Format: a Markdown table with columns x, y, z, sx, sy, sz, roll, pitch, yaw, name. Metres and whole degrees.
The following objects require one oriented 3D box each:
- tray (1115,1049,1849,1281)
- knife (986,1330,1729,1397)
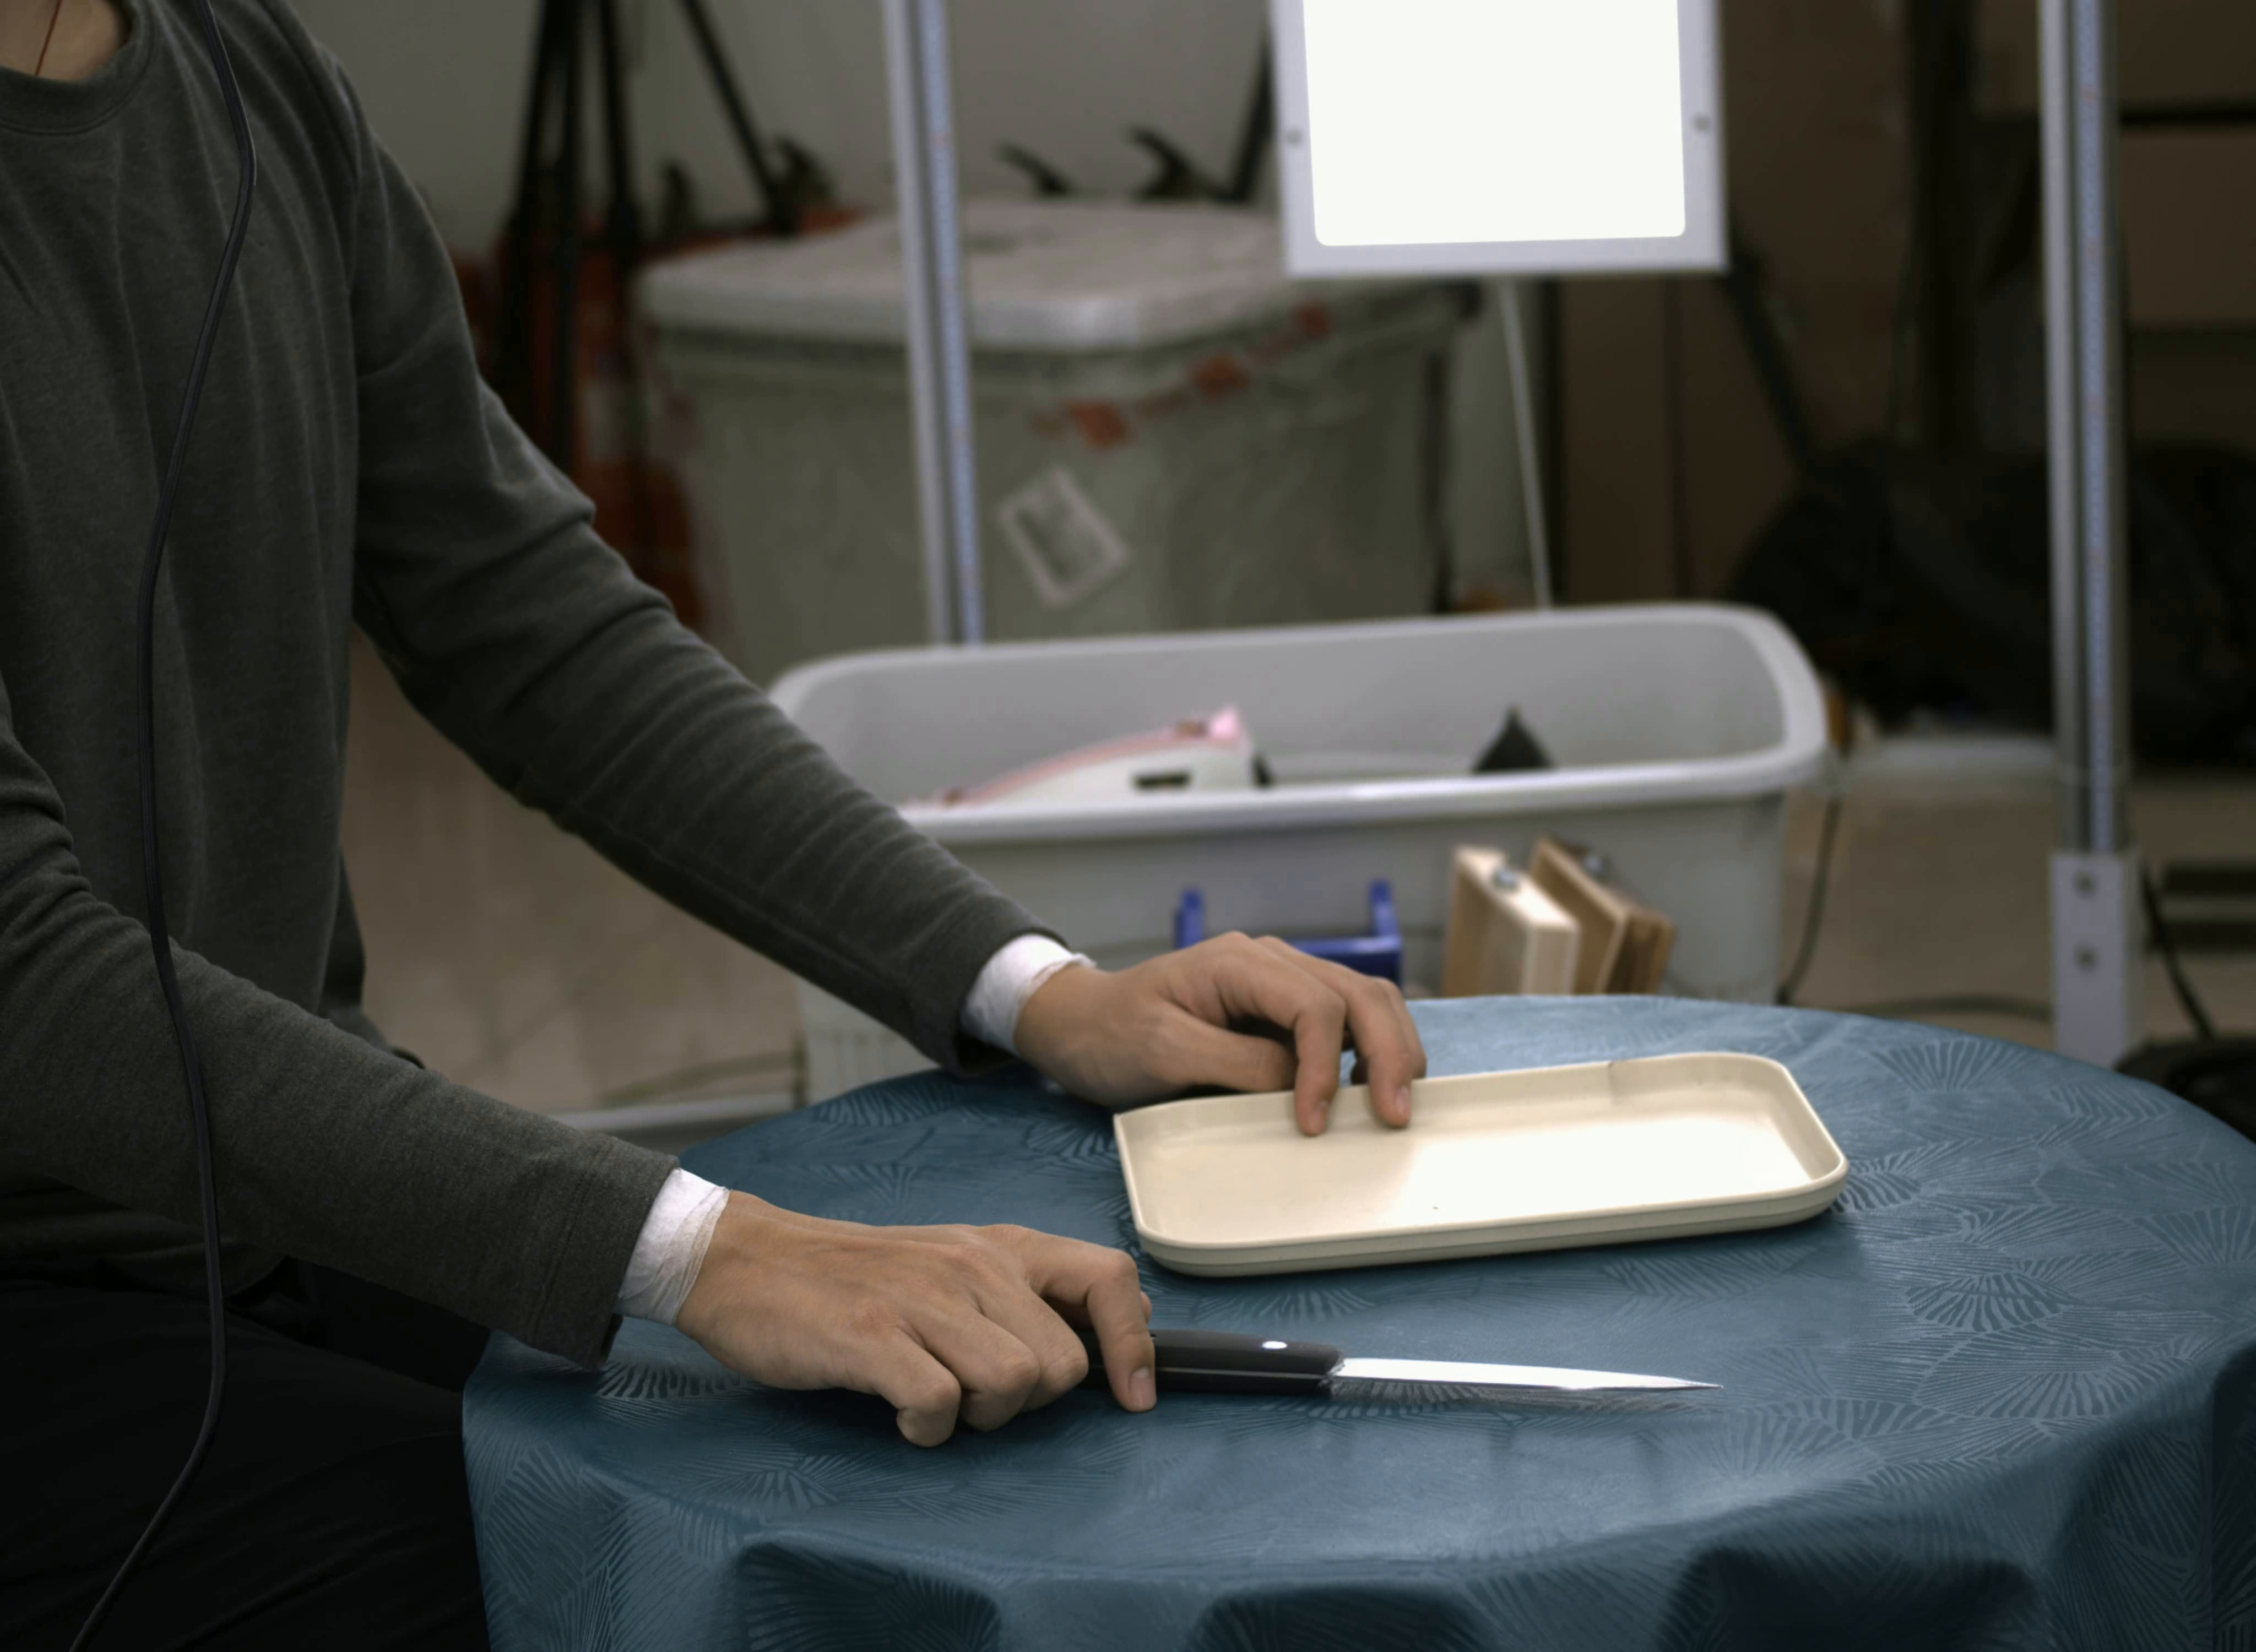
| x | y | z | sx | sy | sz | roll | pitch | yaw | name |
| --- | --- | --- | --- | --- | --- | --- | --- | --- | --- |
| 0.118 | 0.115 | 1.869 | 0.239 | 0.017 | 0.171 | -5 | 14 | 0 | tray |
| 0.067 | 0.167 | 1.684 | 0.241 | 0.016 | 0.024 | 0 | 14 | 20 | knife |
